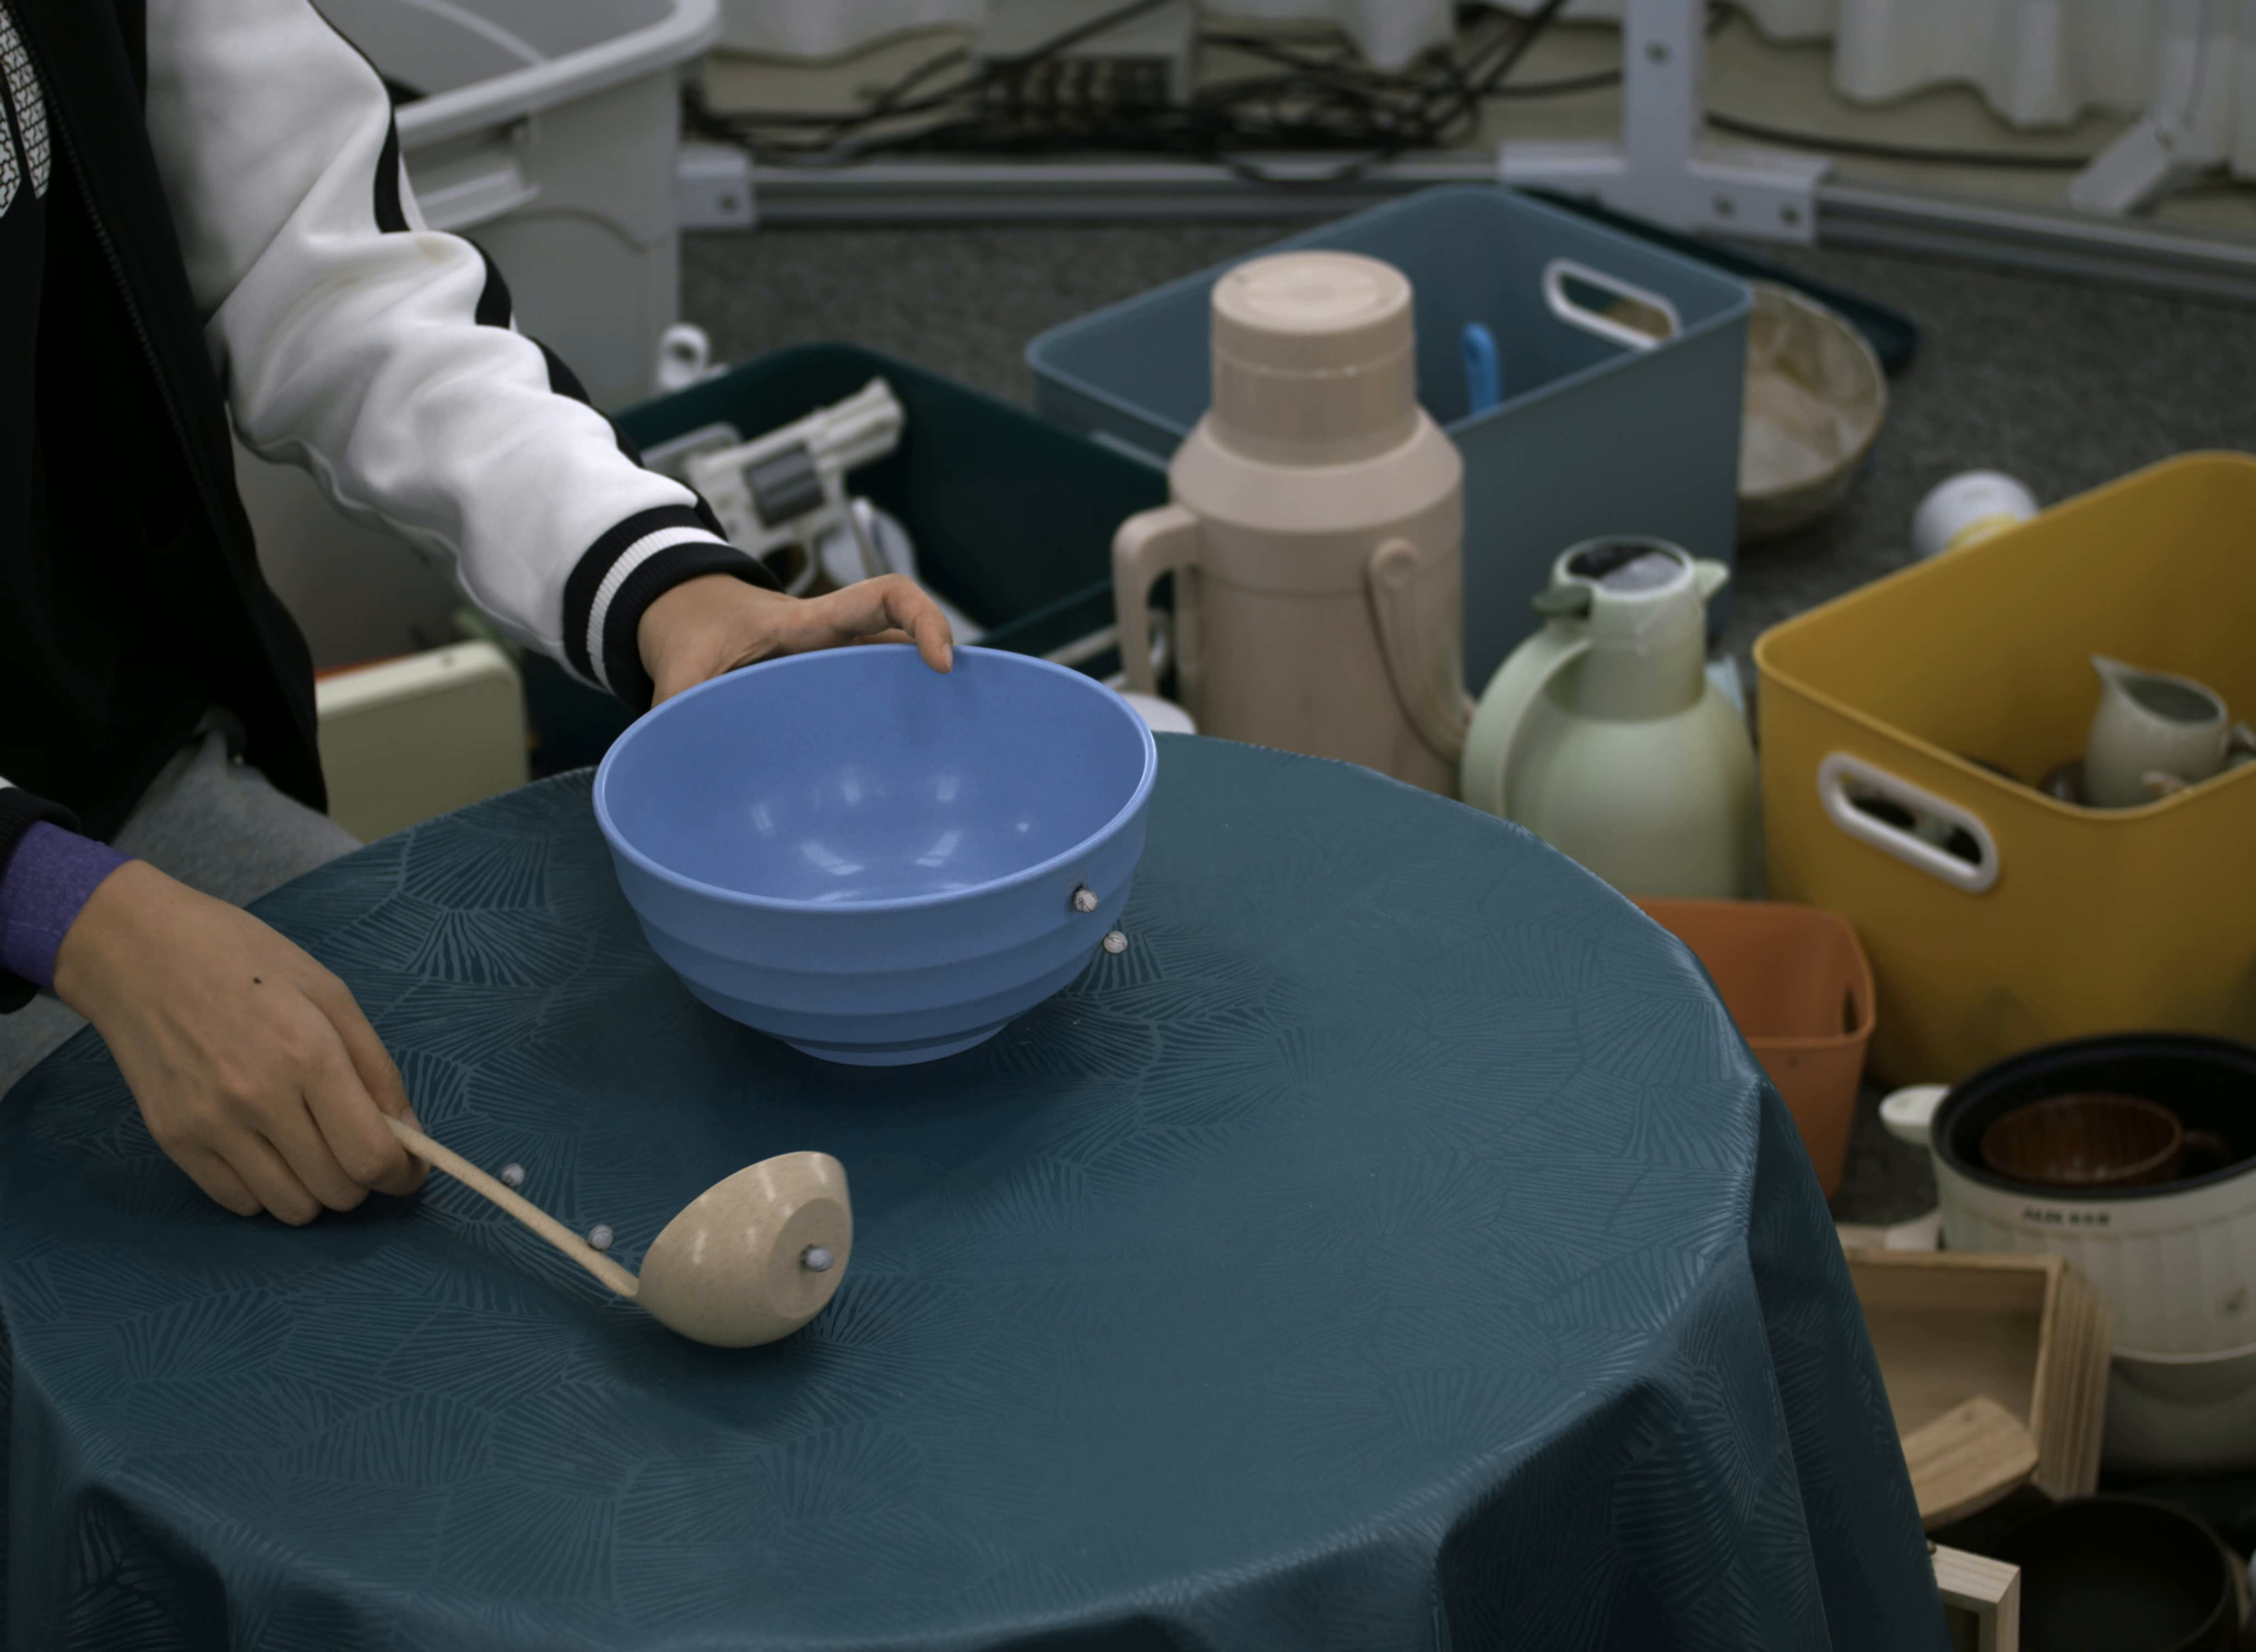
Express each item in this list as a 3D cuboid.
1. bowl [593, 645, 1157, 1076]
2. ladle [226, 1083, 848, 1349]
[{"bbox_3d":[-0.084,0.024,1.964,0.195,0.094,0.199,-3,28,2],"label":"bowl"},{"bbox_3d":[-0.196,0.099,1.833,0.254,0.073,0.072,24,5,35],"label":"ladle"}]
